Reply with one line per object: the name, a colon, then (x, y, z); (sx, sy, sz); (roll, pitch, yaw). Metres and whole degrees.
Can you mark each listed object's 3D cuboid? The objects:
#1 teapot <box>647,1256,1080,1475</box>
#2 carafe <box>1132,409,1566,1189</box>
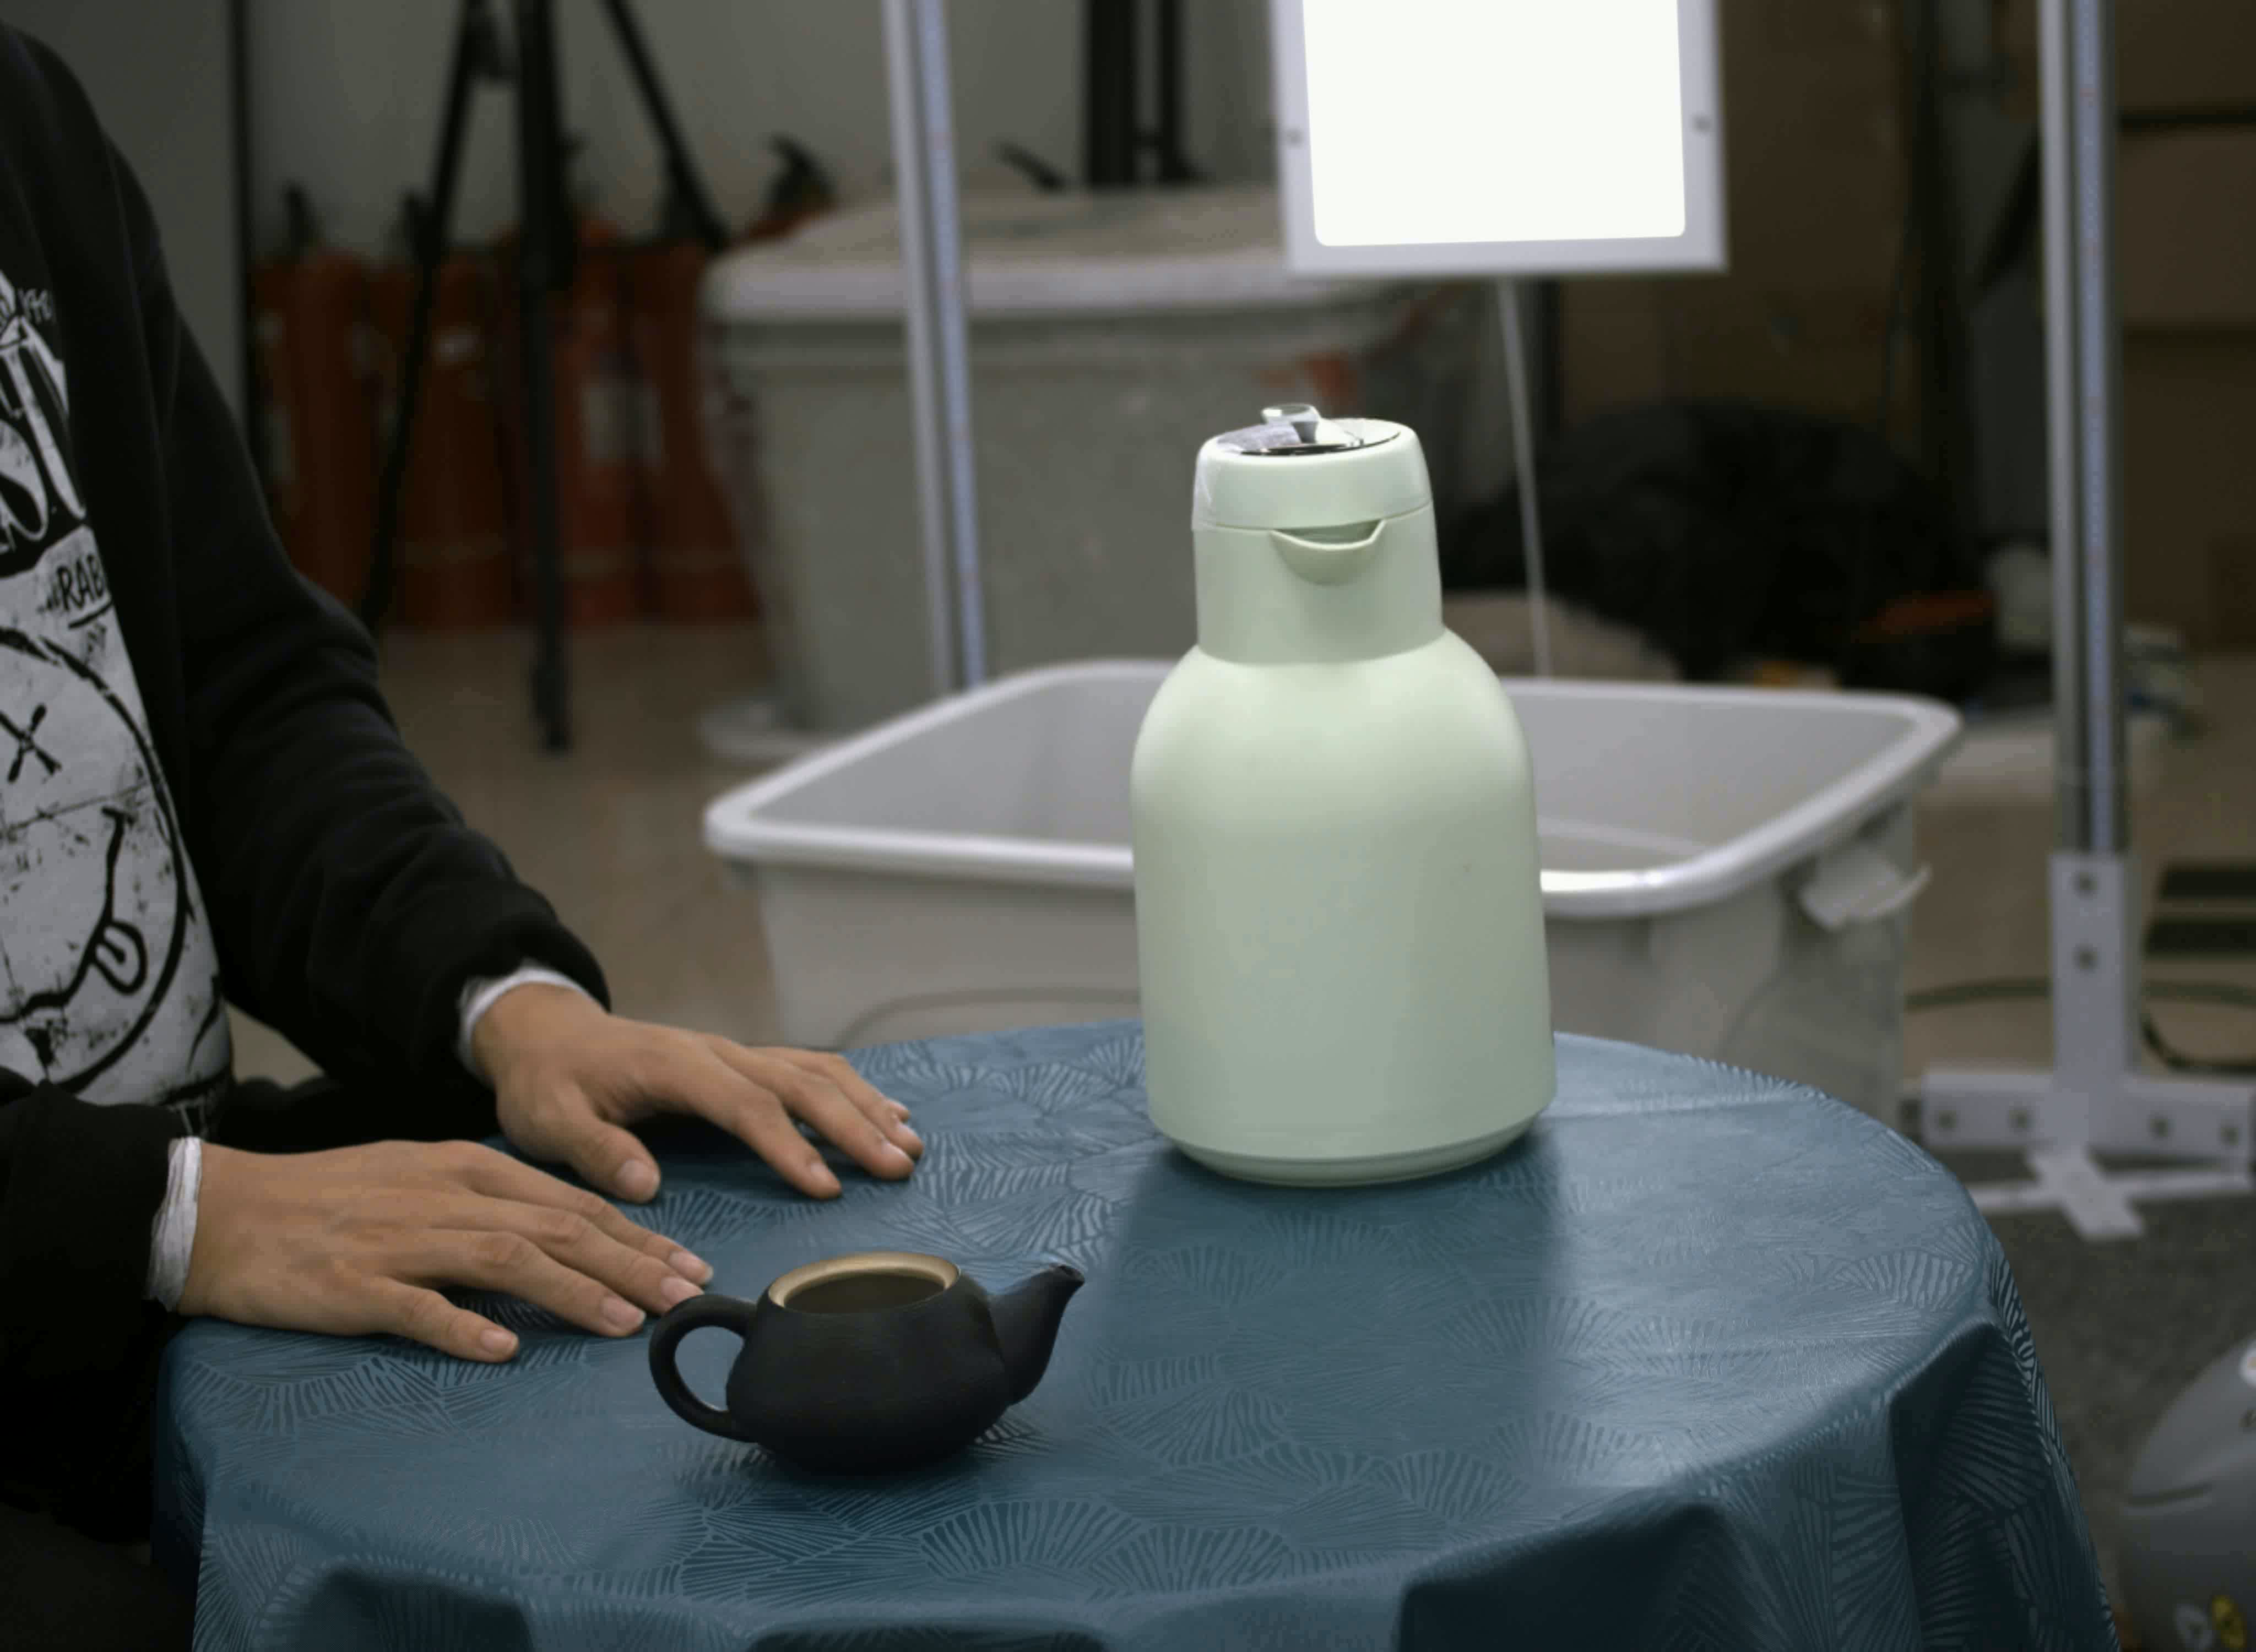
teapot: (-0.079, 0.163, 1.668); (0.133, 0.053, 0.091); (-5, 12, 1)
carafe: (0.070, -0.015, 1.923); (0.143, 0.257, 0.187); (-7, 11, -4)
